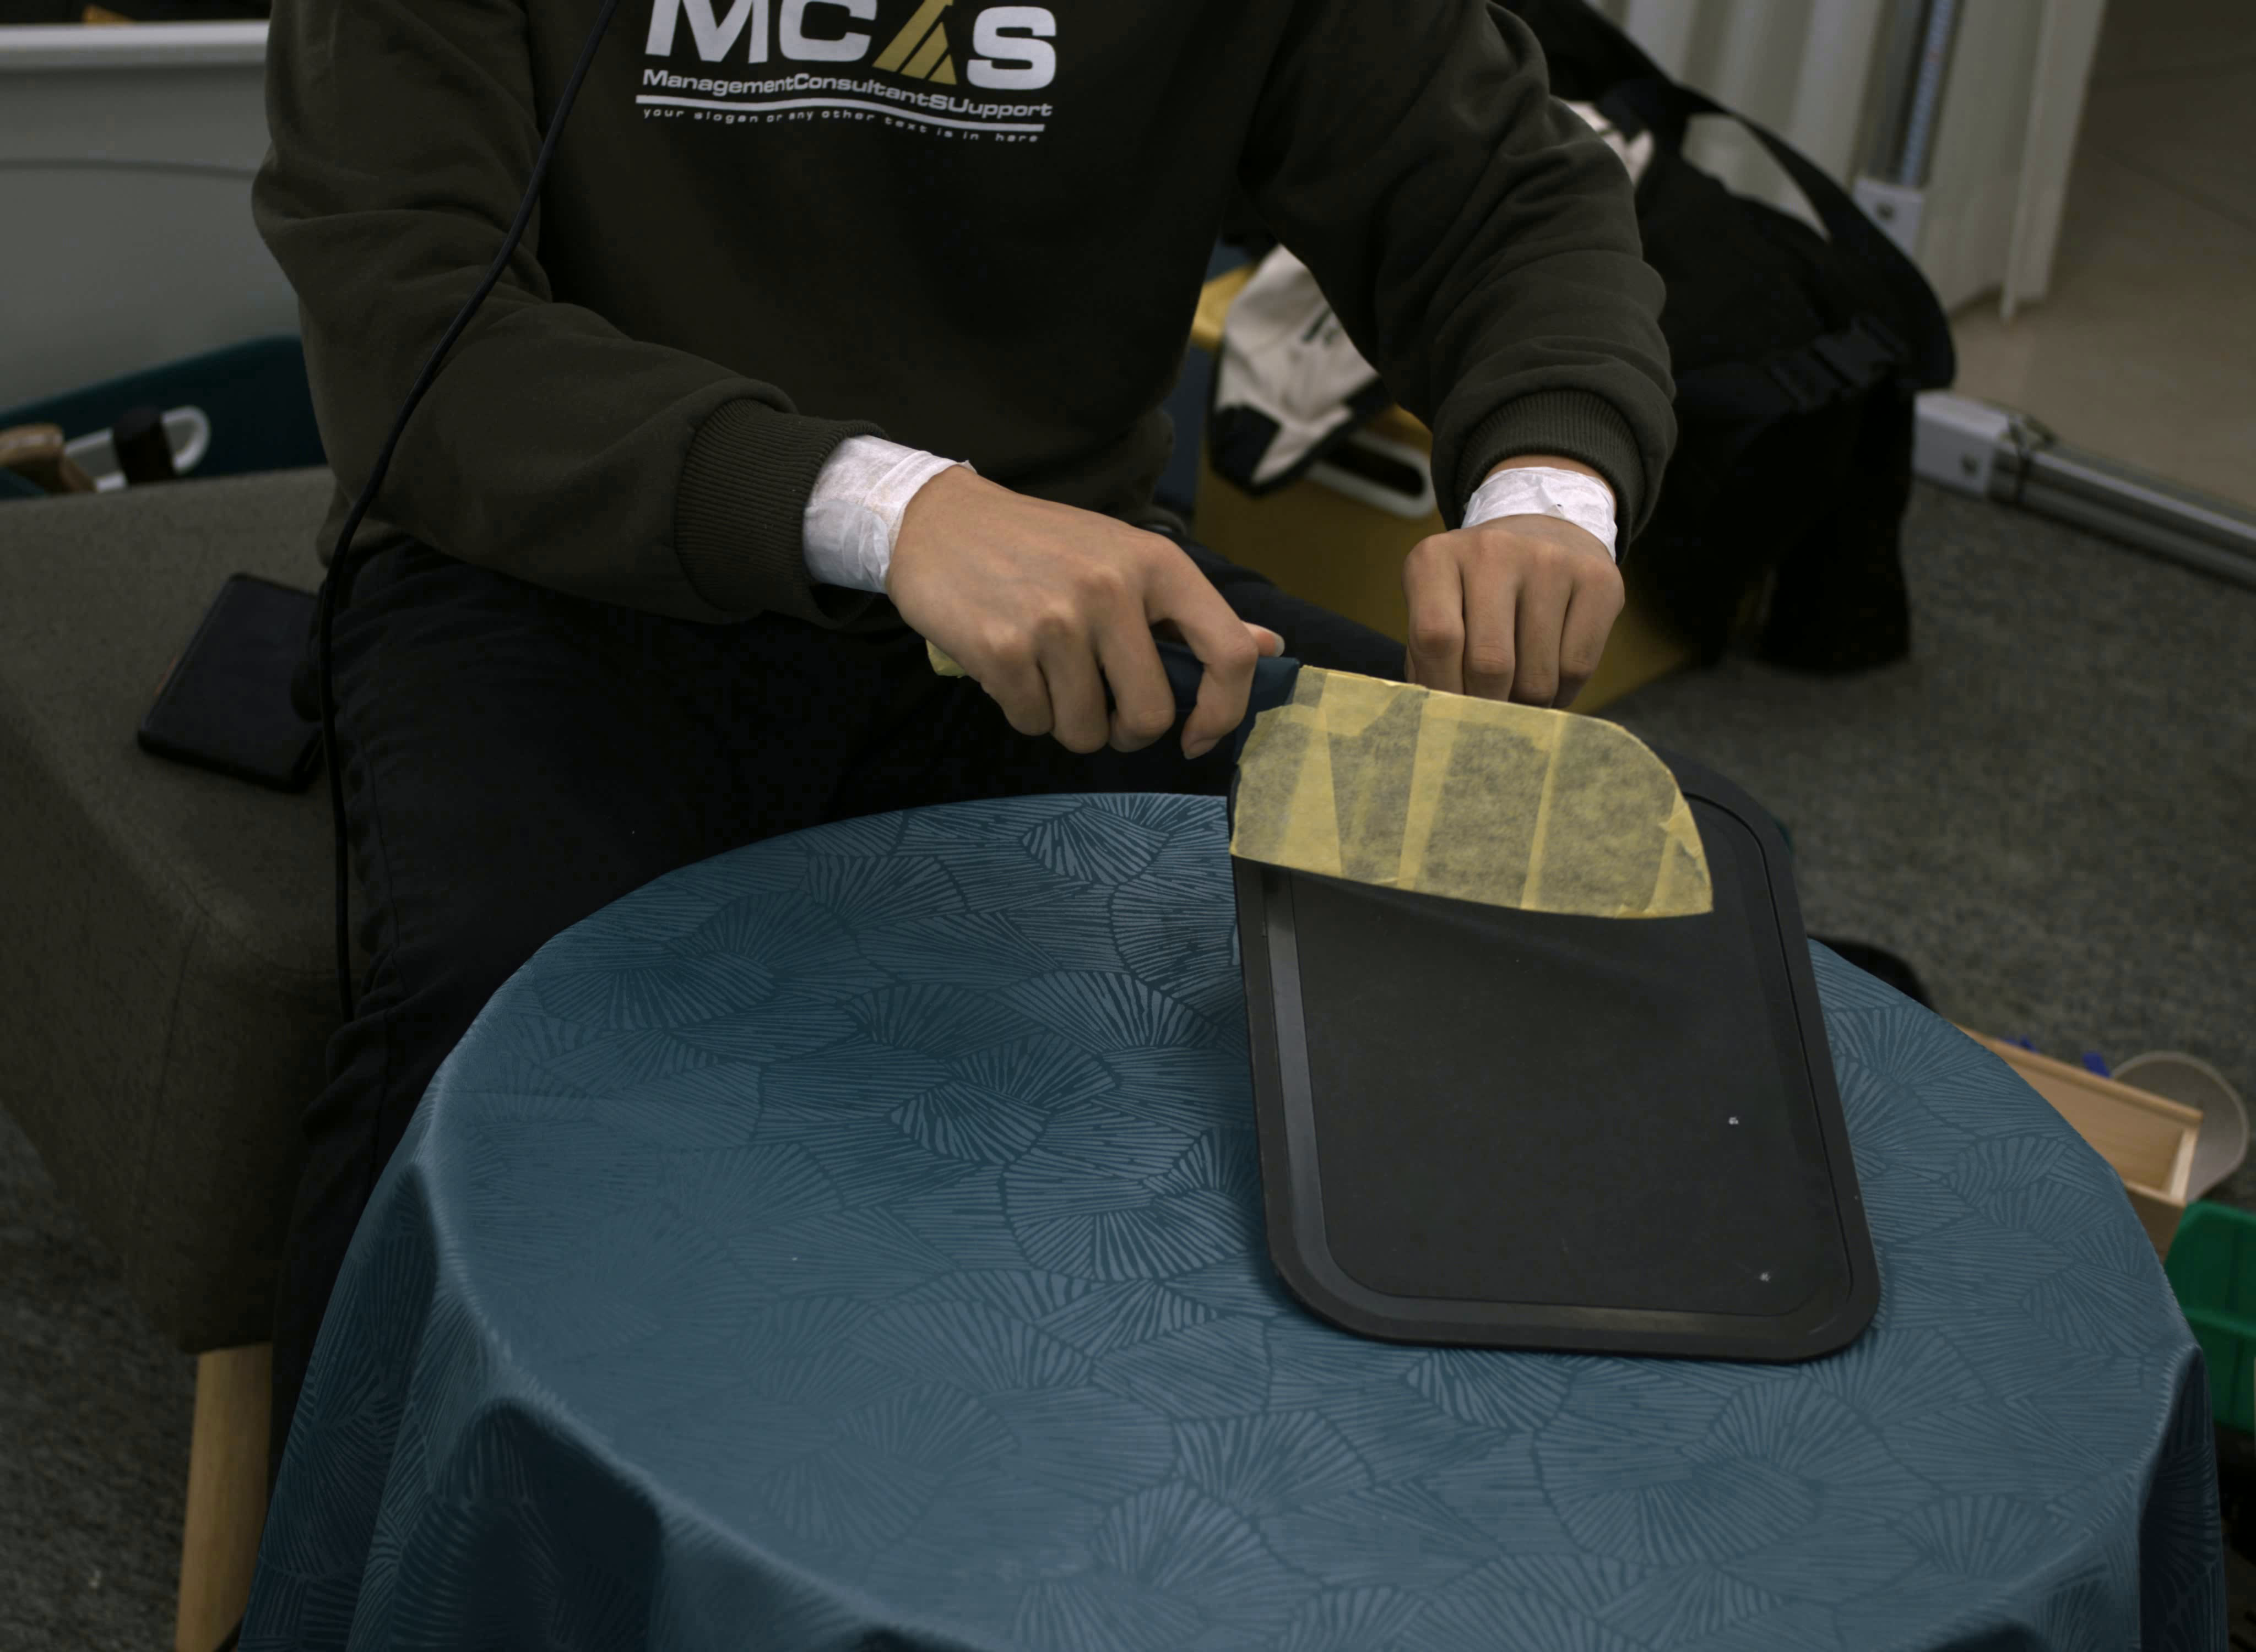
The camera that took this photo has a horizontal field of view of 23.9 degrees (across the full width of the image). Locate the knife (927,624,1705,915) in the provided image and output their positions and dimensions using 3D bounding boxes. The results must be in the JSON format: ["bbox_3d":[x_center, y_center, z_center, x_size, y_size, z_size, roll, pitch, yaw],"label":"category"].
[{"bbox_3d":[0.065,-0.021,1.894,0.289,0.081,0.027,14,5,8],"label":"knife"}]

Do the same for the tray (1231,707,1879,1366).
[{"bbox_3d":[0.144,0.063,1.861,0.210,0.010,0.328,4,41,-6],"label":"tray"}]
